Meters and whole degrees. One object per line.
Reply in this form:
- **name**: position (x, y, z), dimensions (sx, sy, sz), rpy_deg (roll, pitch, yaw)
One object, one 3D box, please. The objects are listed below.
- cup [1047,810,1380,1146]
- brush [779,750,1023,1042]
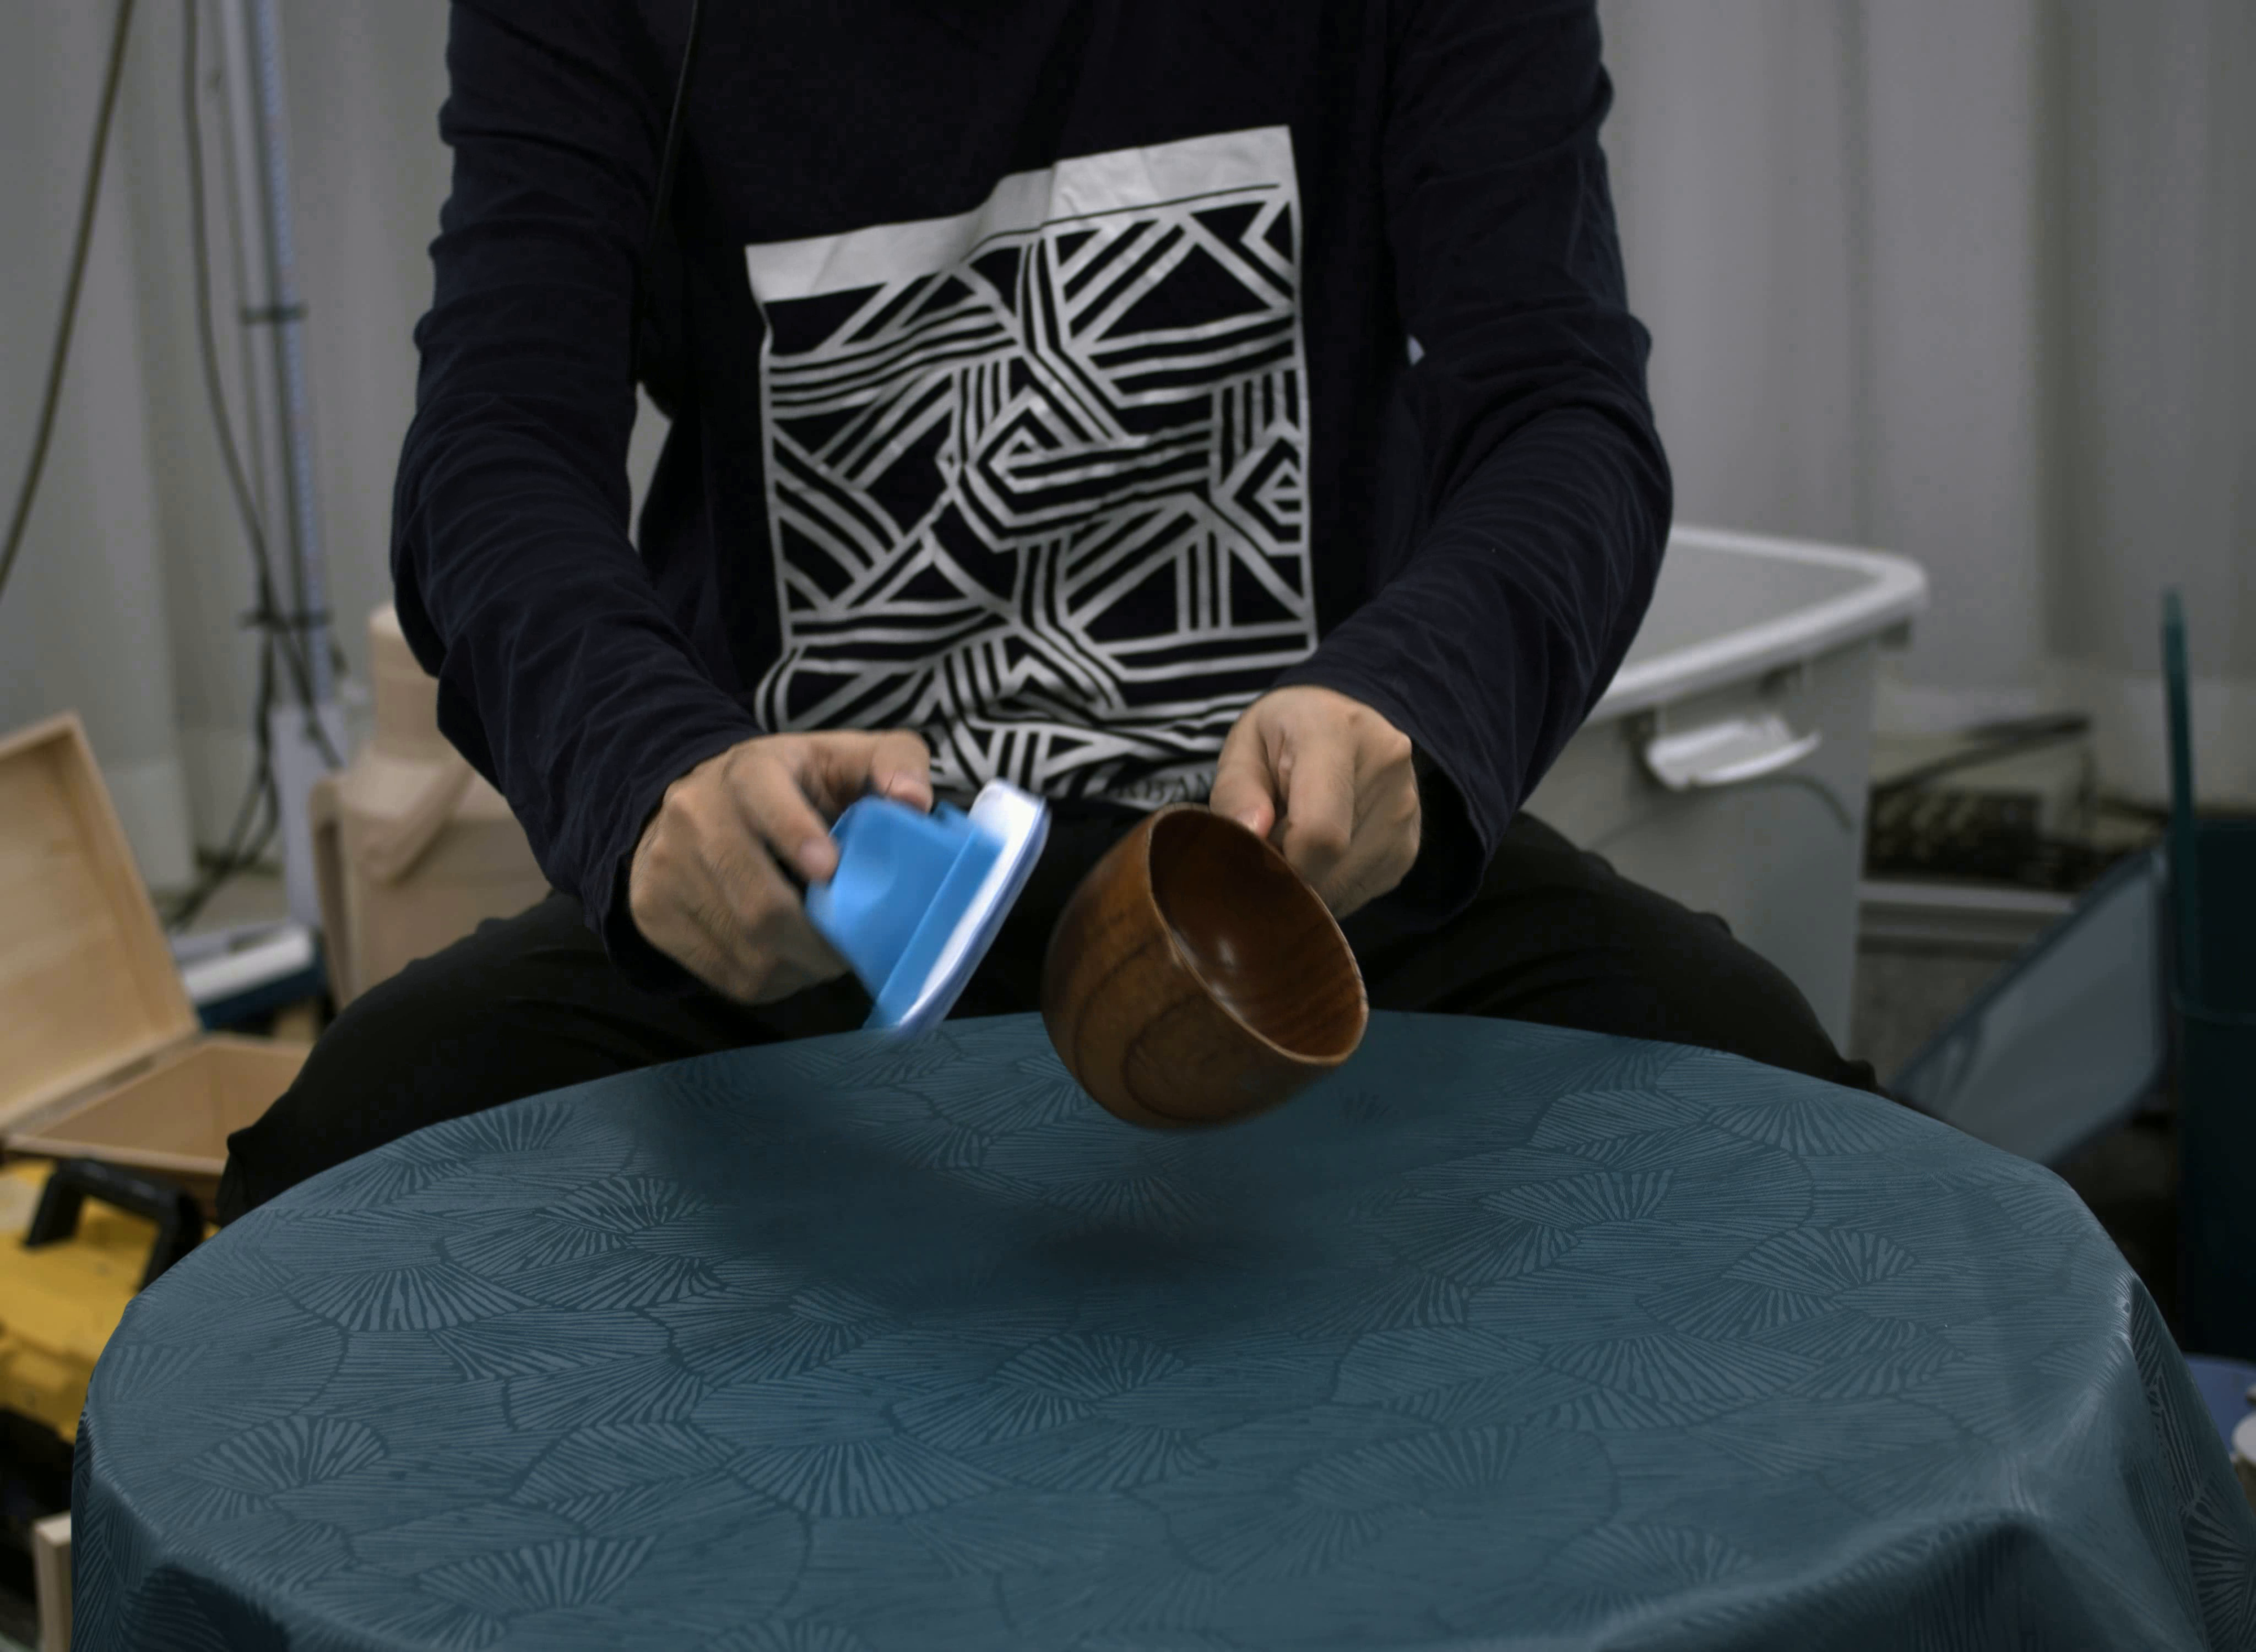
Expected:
- **cup**: position (0.021, 0.046, 1.655), dimensions (0.095, 0.067, 0.121), rpy_deg (38, 28, -14)
- **brush**: position (-0.076, 0.016, 1.659), dimensions (0.055, 0.084, 0.144), rpy_deg (35, 3, -11)
